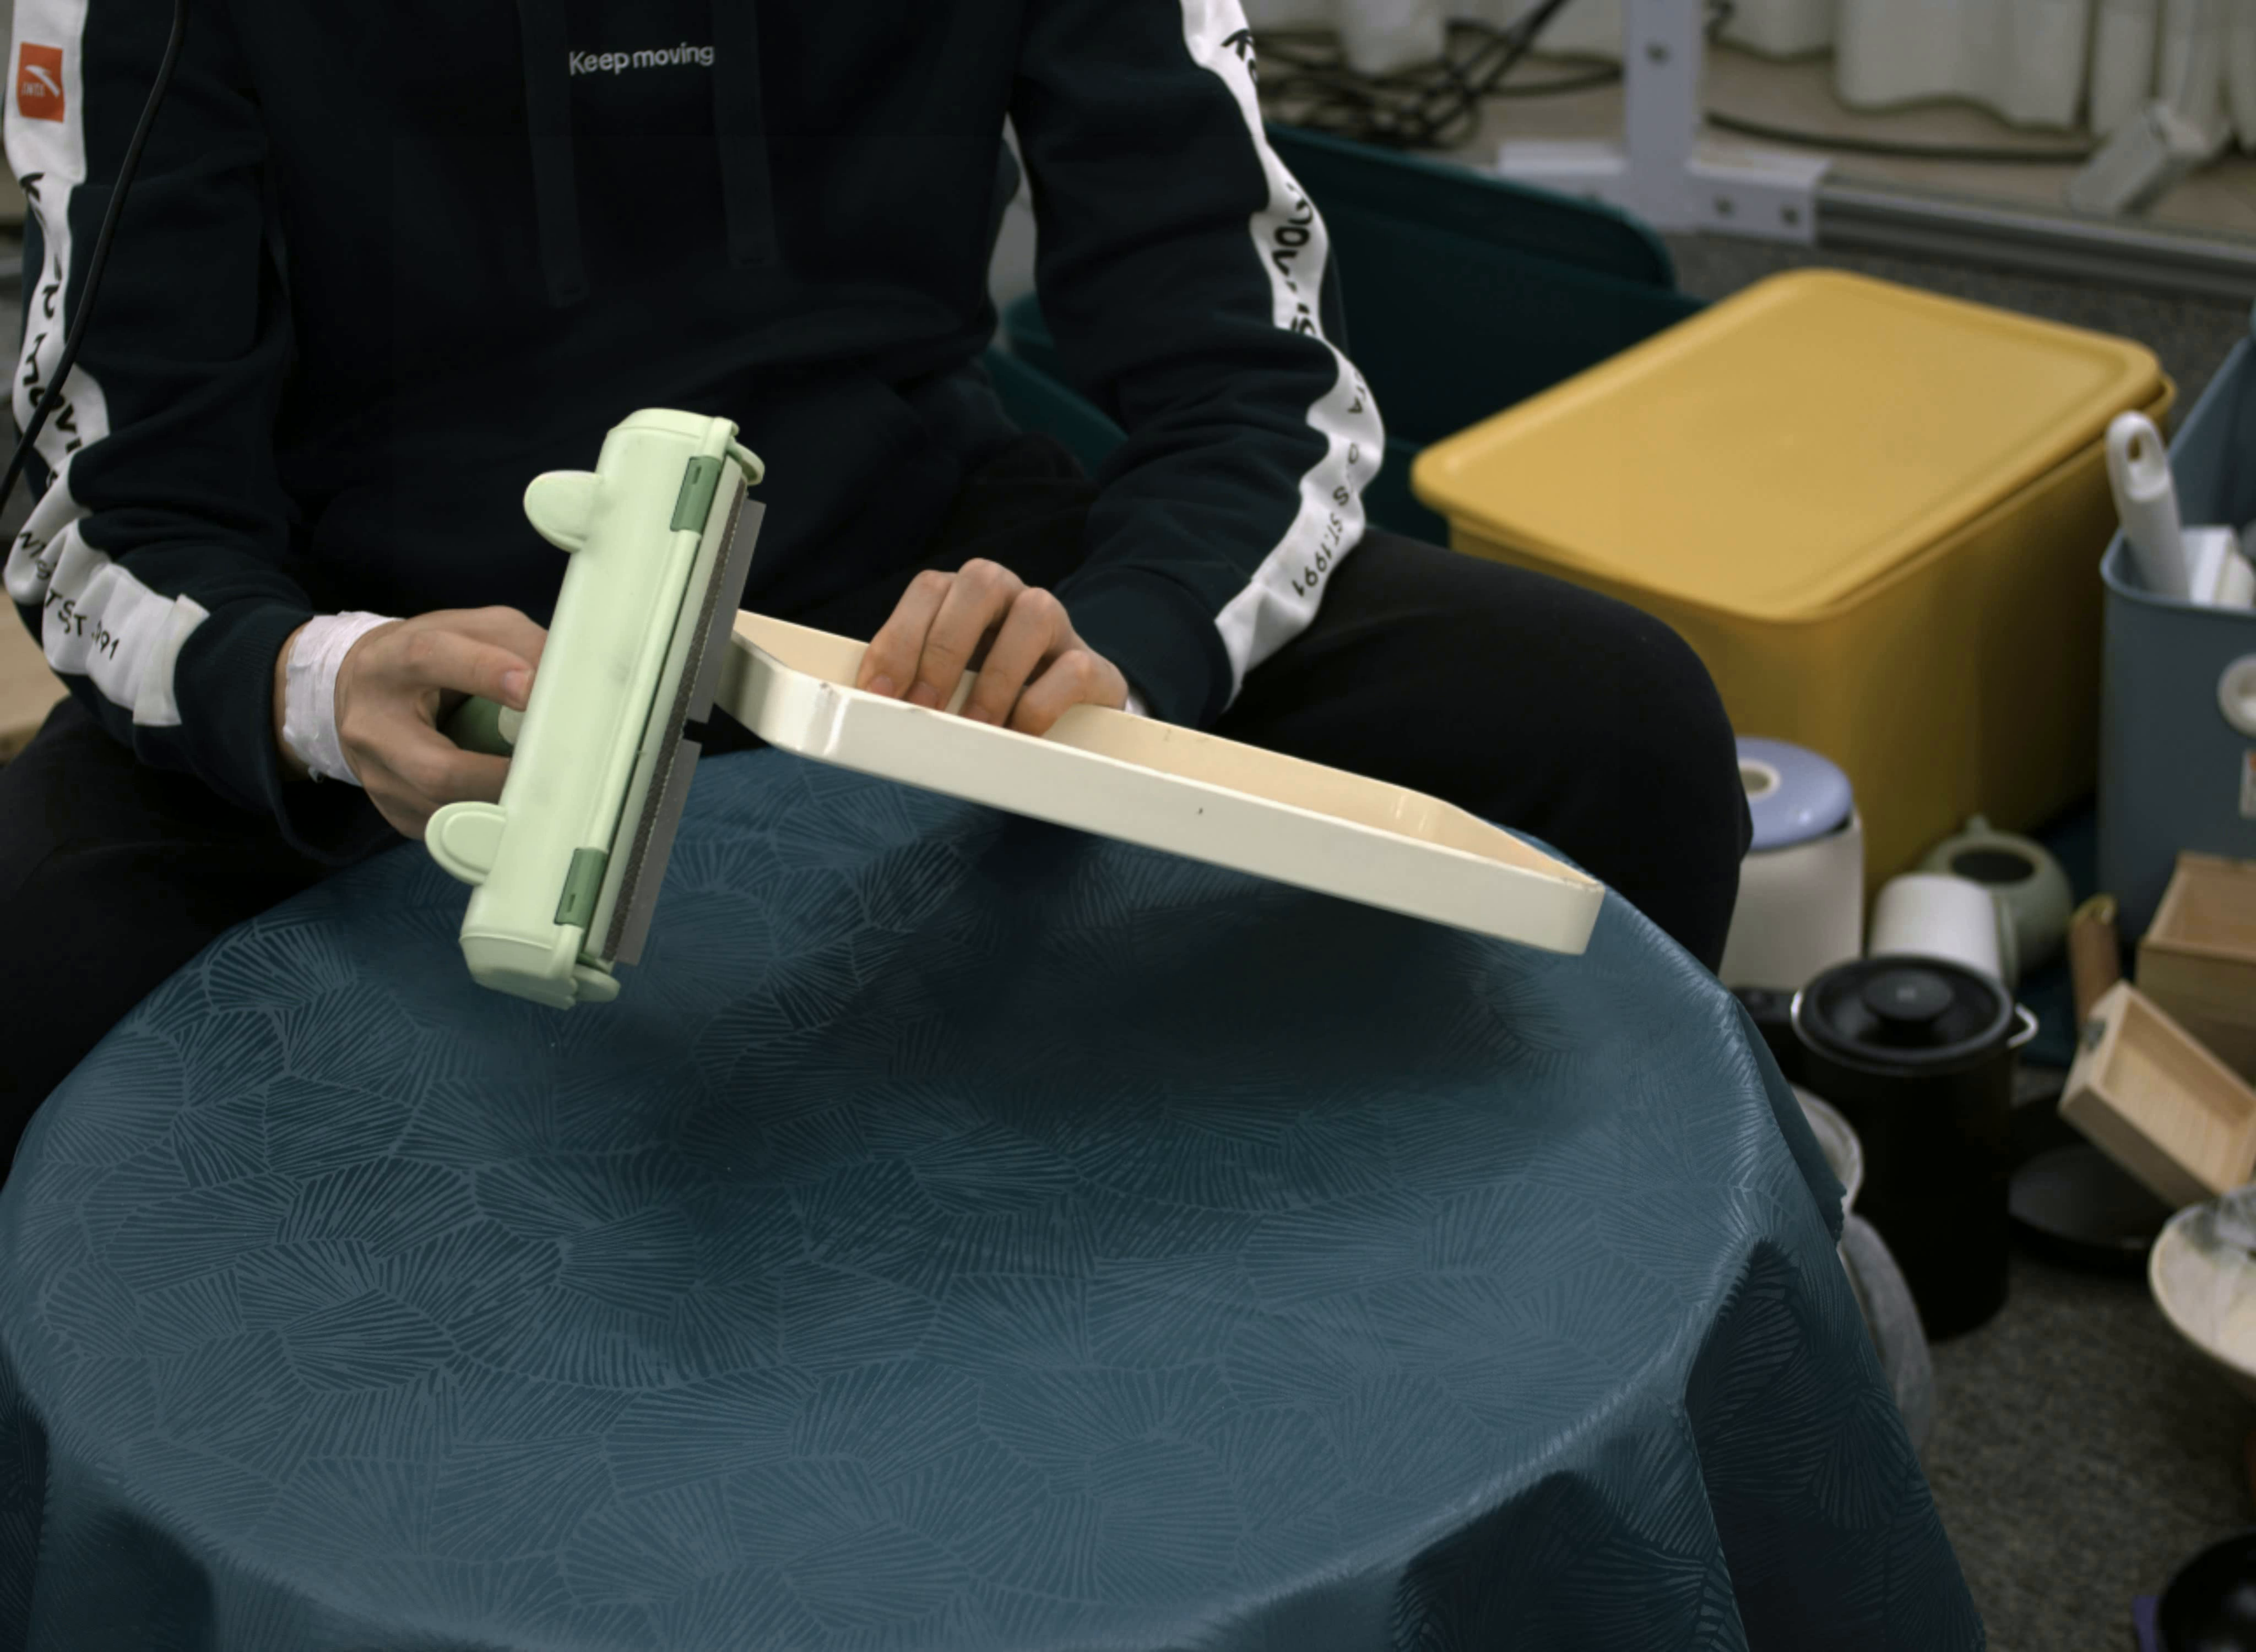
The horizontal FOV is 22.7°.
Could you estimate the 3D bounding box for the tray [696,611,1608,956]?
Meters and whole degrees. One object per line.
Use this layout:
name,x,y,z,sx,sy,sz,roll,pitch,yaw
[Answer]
tray,0.000,-0.016,1.928,0.299,0.027,0.192,15,5,-18

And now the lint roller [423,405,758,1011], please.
lint roller,-0.207,-0.039,1.870,0.082,0.201,0.181,25,-18,-35
